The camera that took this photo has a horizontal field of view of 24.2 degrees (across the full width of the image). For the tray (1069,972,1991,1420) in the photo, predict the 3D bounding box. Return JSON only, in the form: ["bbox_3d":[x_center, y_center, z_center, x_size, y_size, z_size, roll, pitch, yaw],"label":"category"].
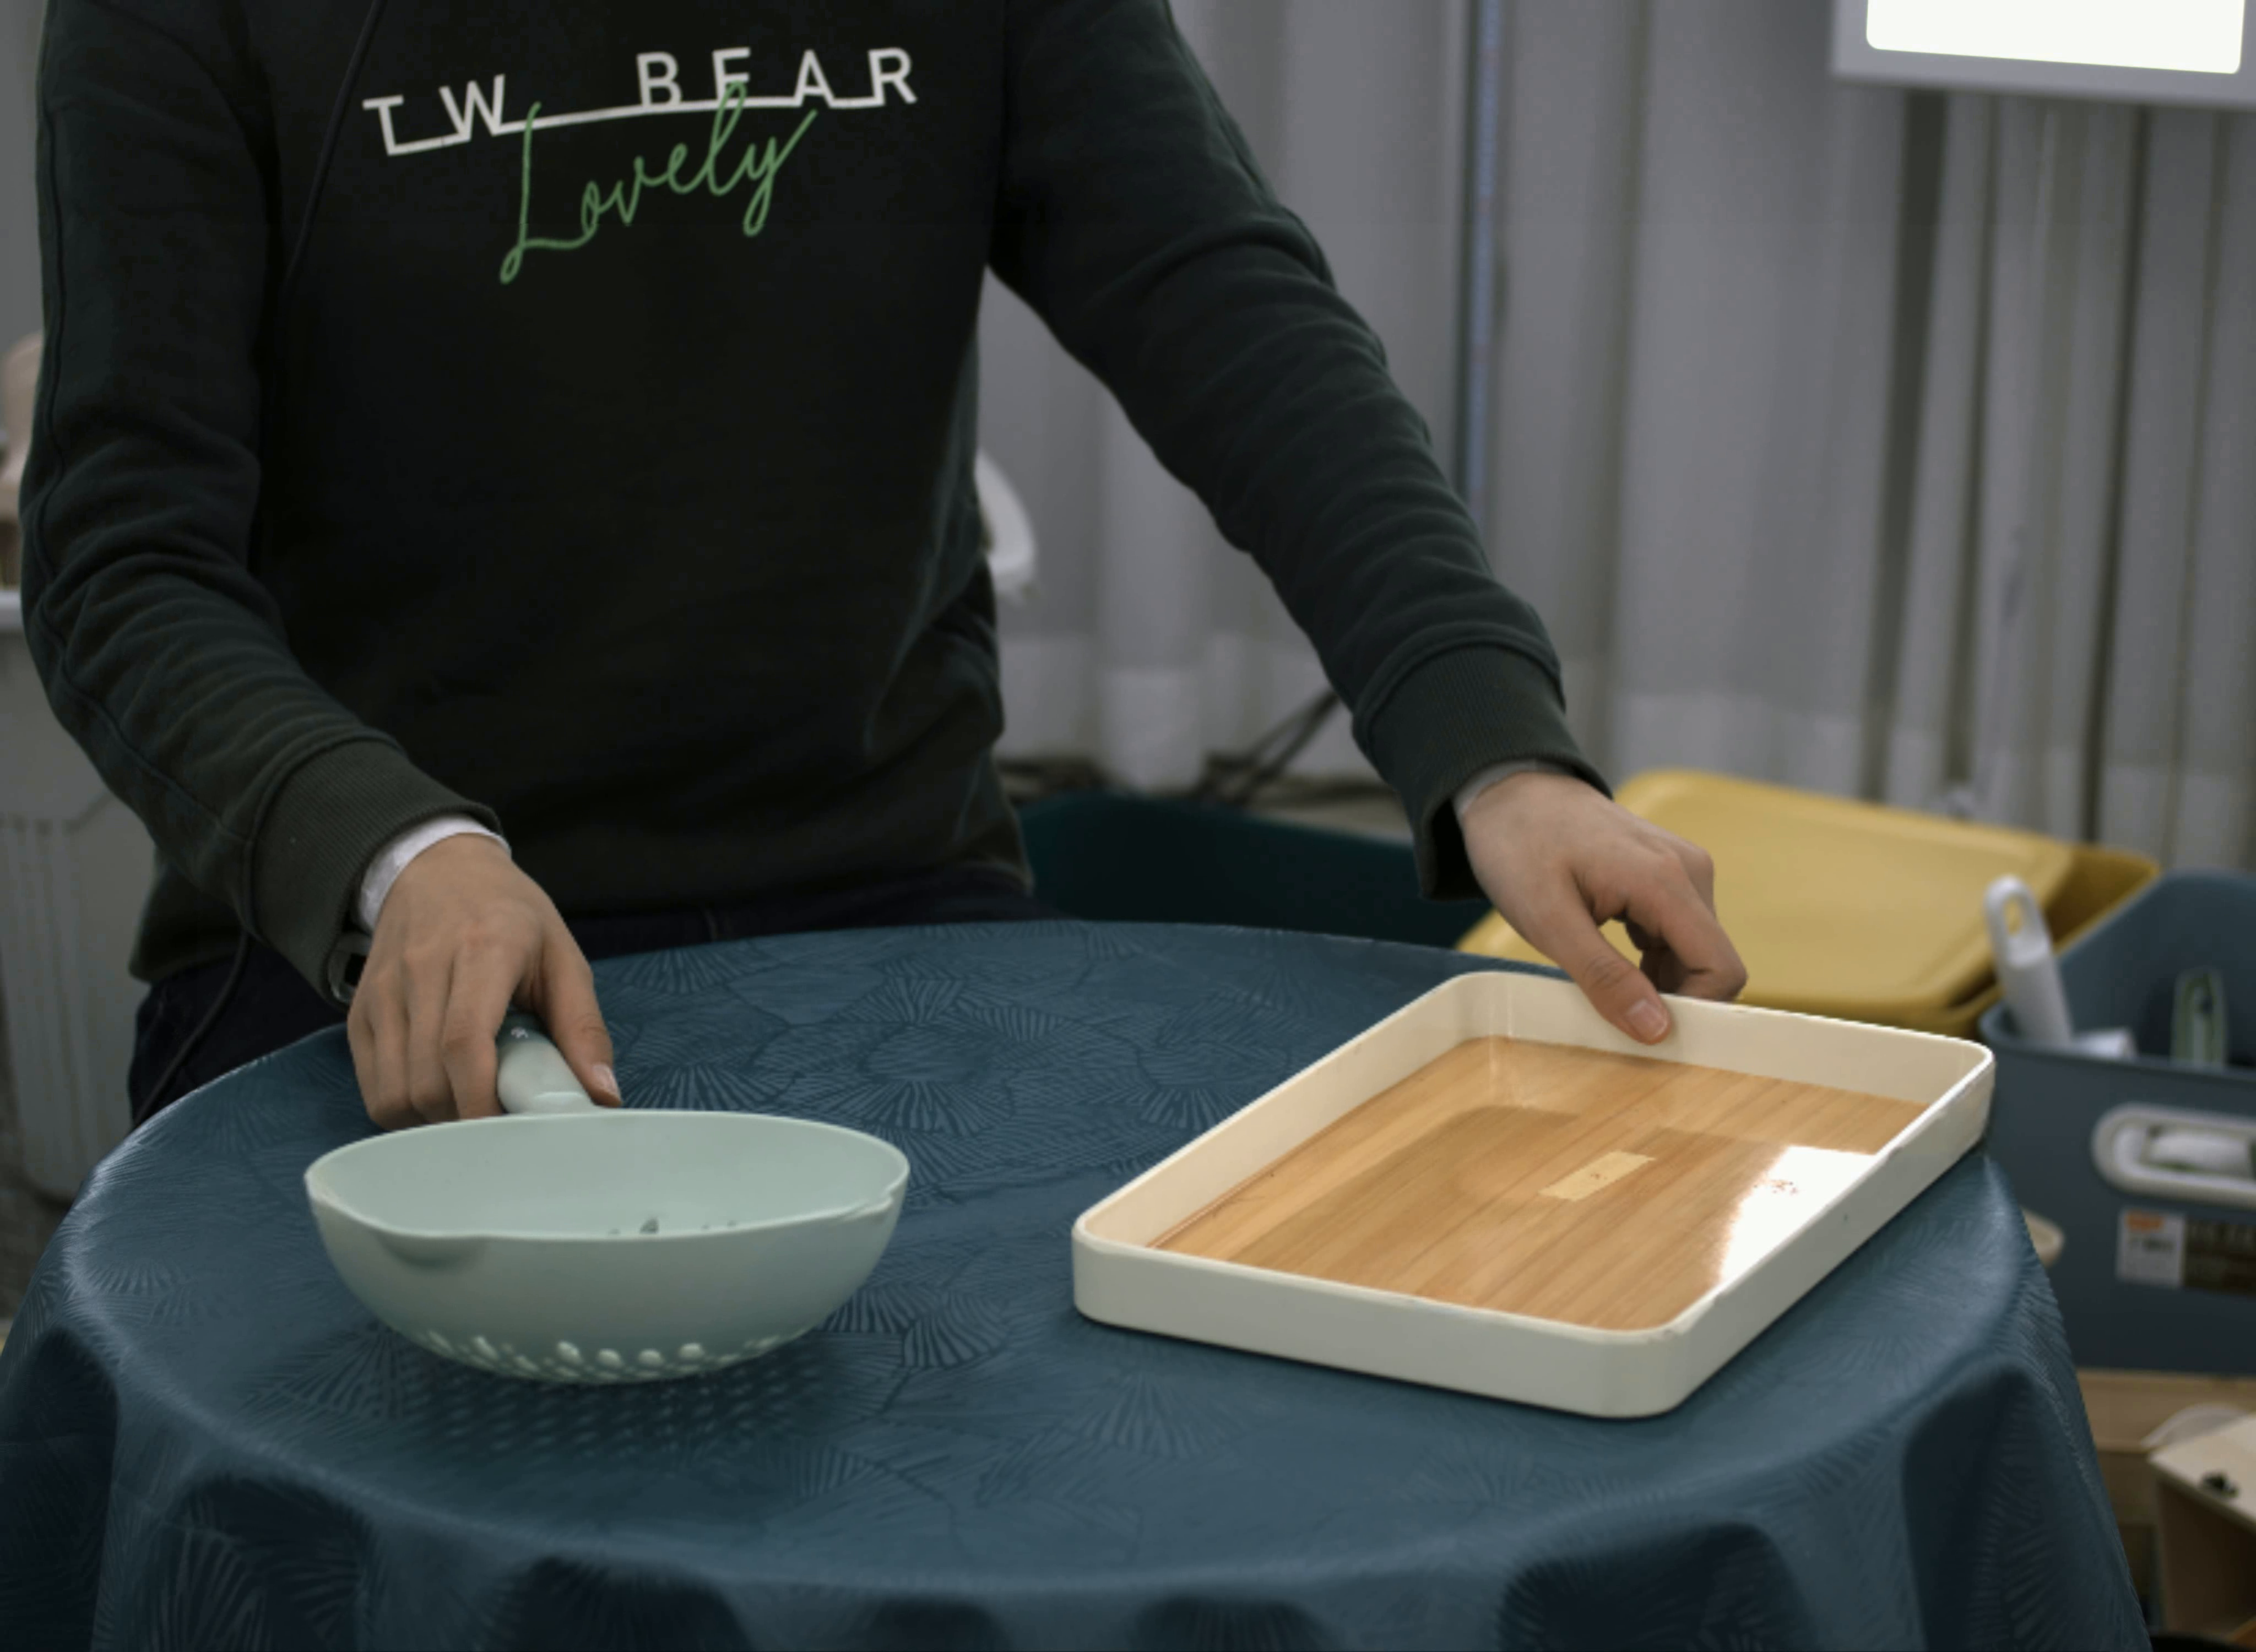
[{"bbox_3d":[0.129,0.107,1.604,0.189,0.027,0.301,9,17,26],"label":"tray"}]

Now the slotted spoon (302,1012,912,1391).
[{"bbox_3d":[-0.166,0.095,1.560,0.169,0.076,0.355,-1,17,-13],"label":"slotted spoon"}]
